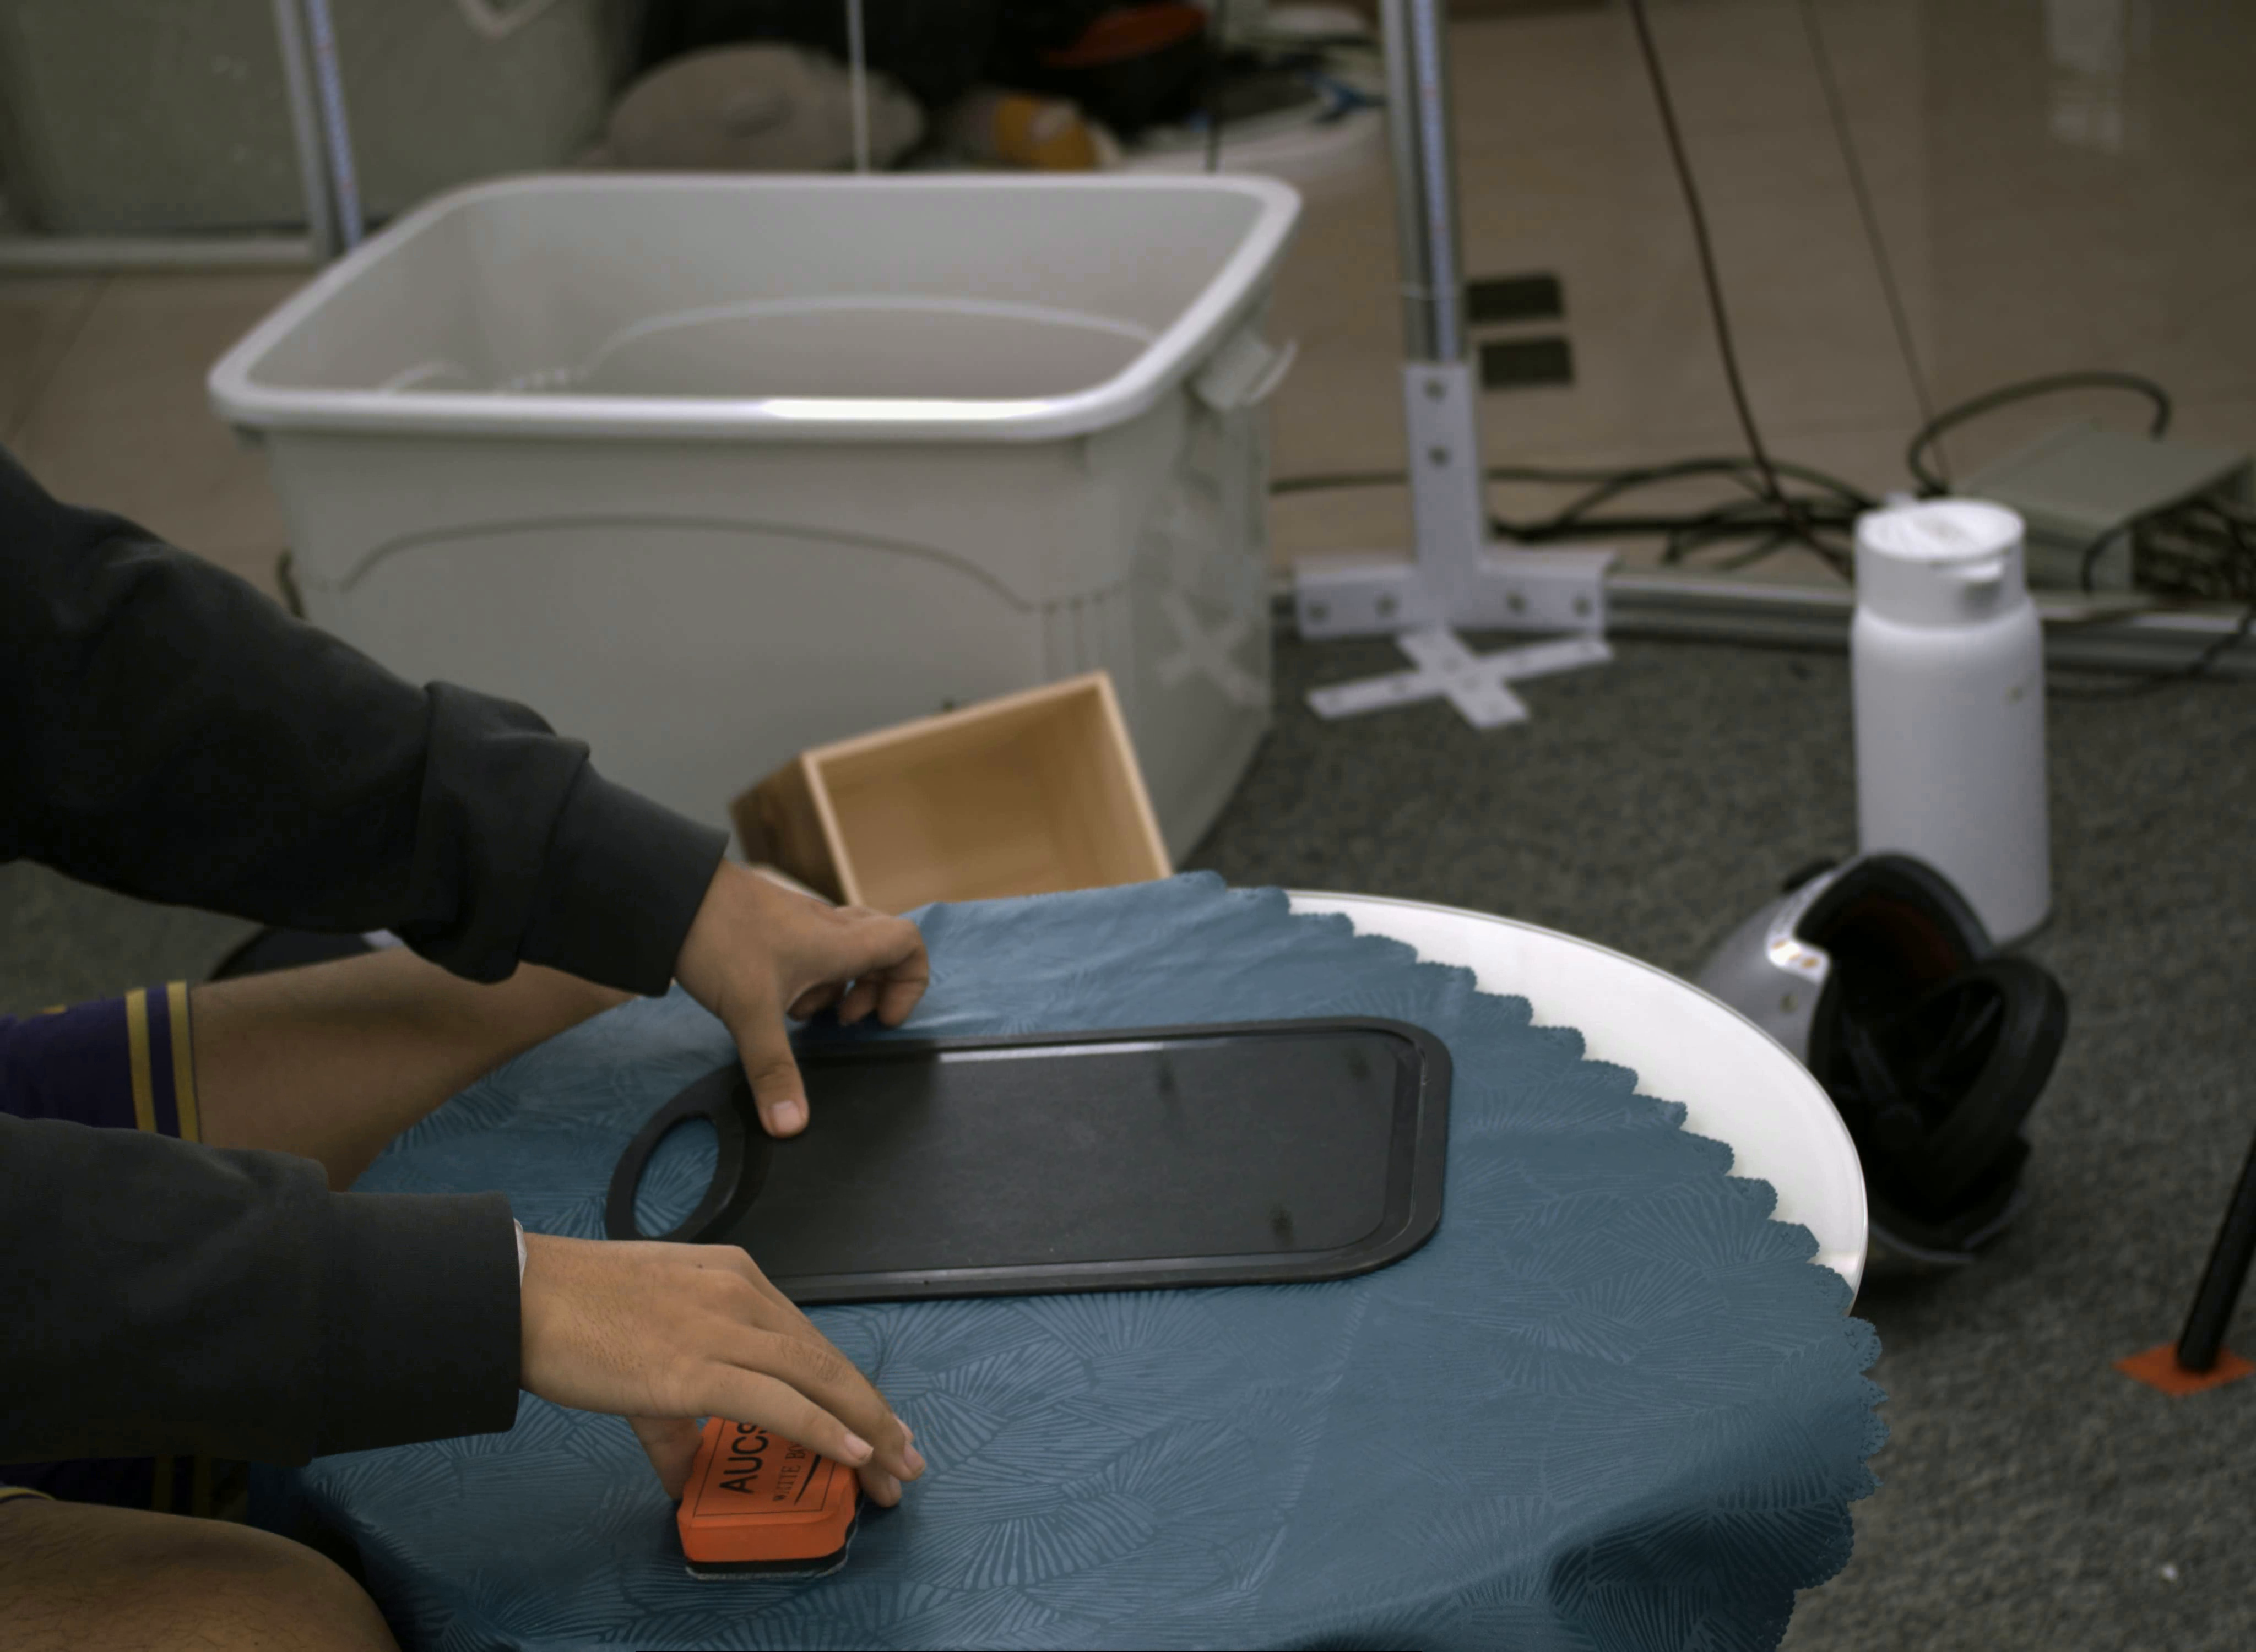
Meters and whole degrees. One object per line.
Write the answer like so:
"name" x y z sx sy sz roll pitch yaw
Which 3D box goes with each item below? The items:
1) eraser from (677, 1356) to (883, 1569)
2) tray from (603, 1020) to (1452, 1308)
"eraser" -0.120 0.220 1.968 0.059 0.023 0.106 -3 24 8
"tray" -0.040 0.127 2.175 0.325 0.010 0.208 -3 25 8
